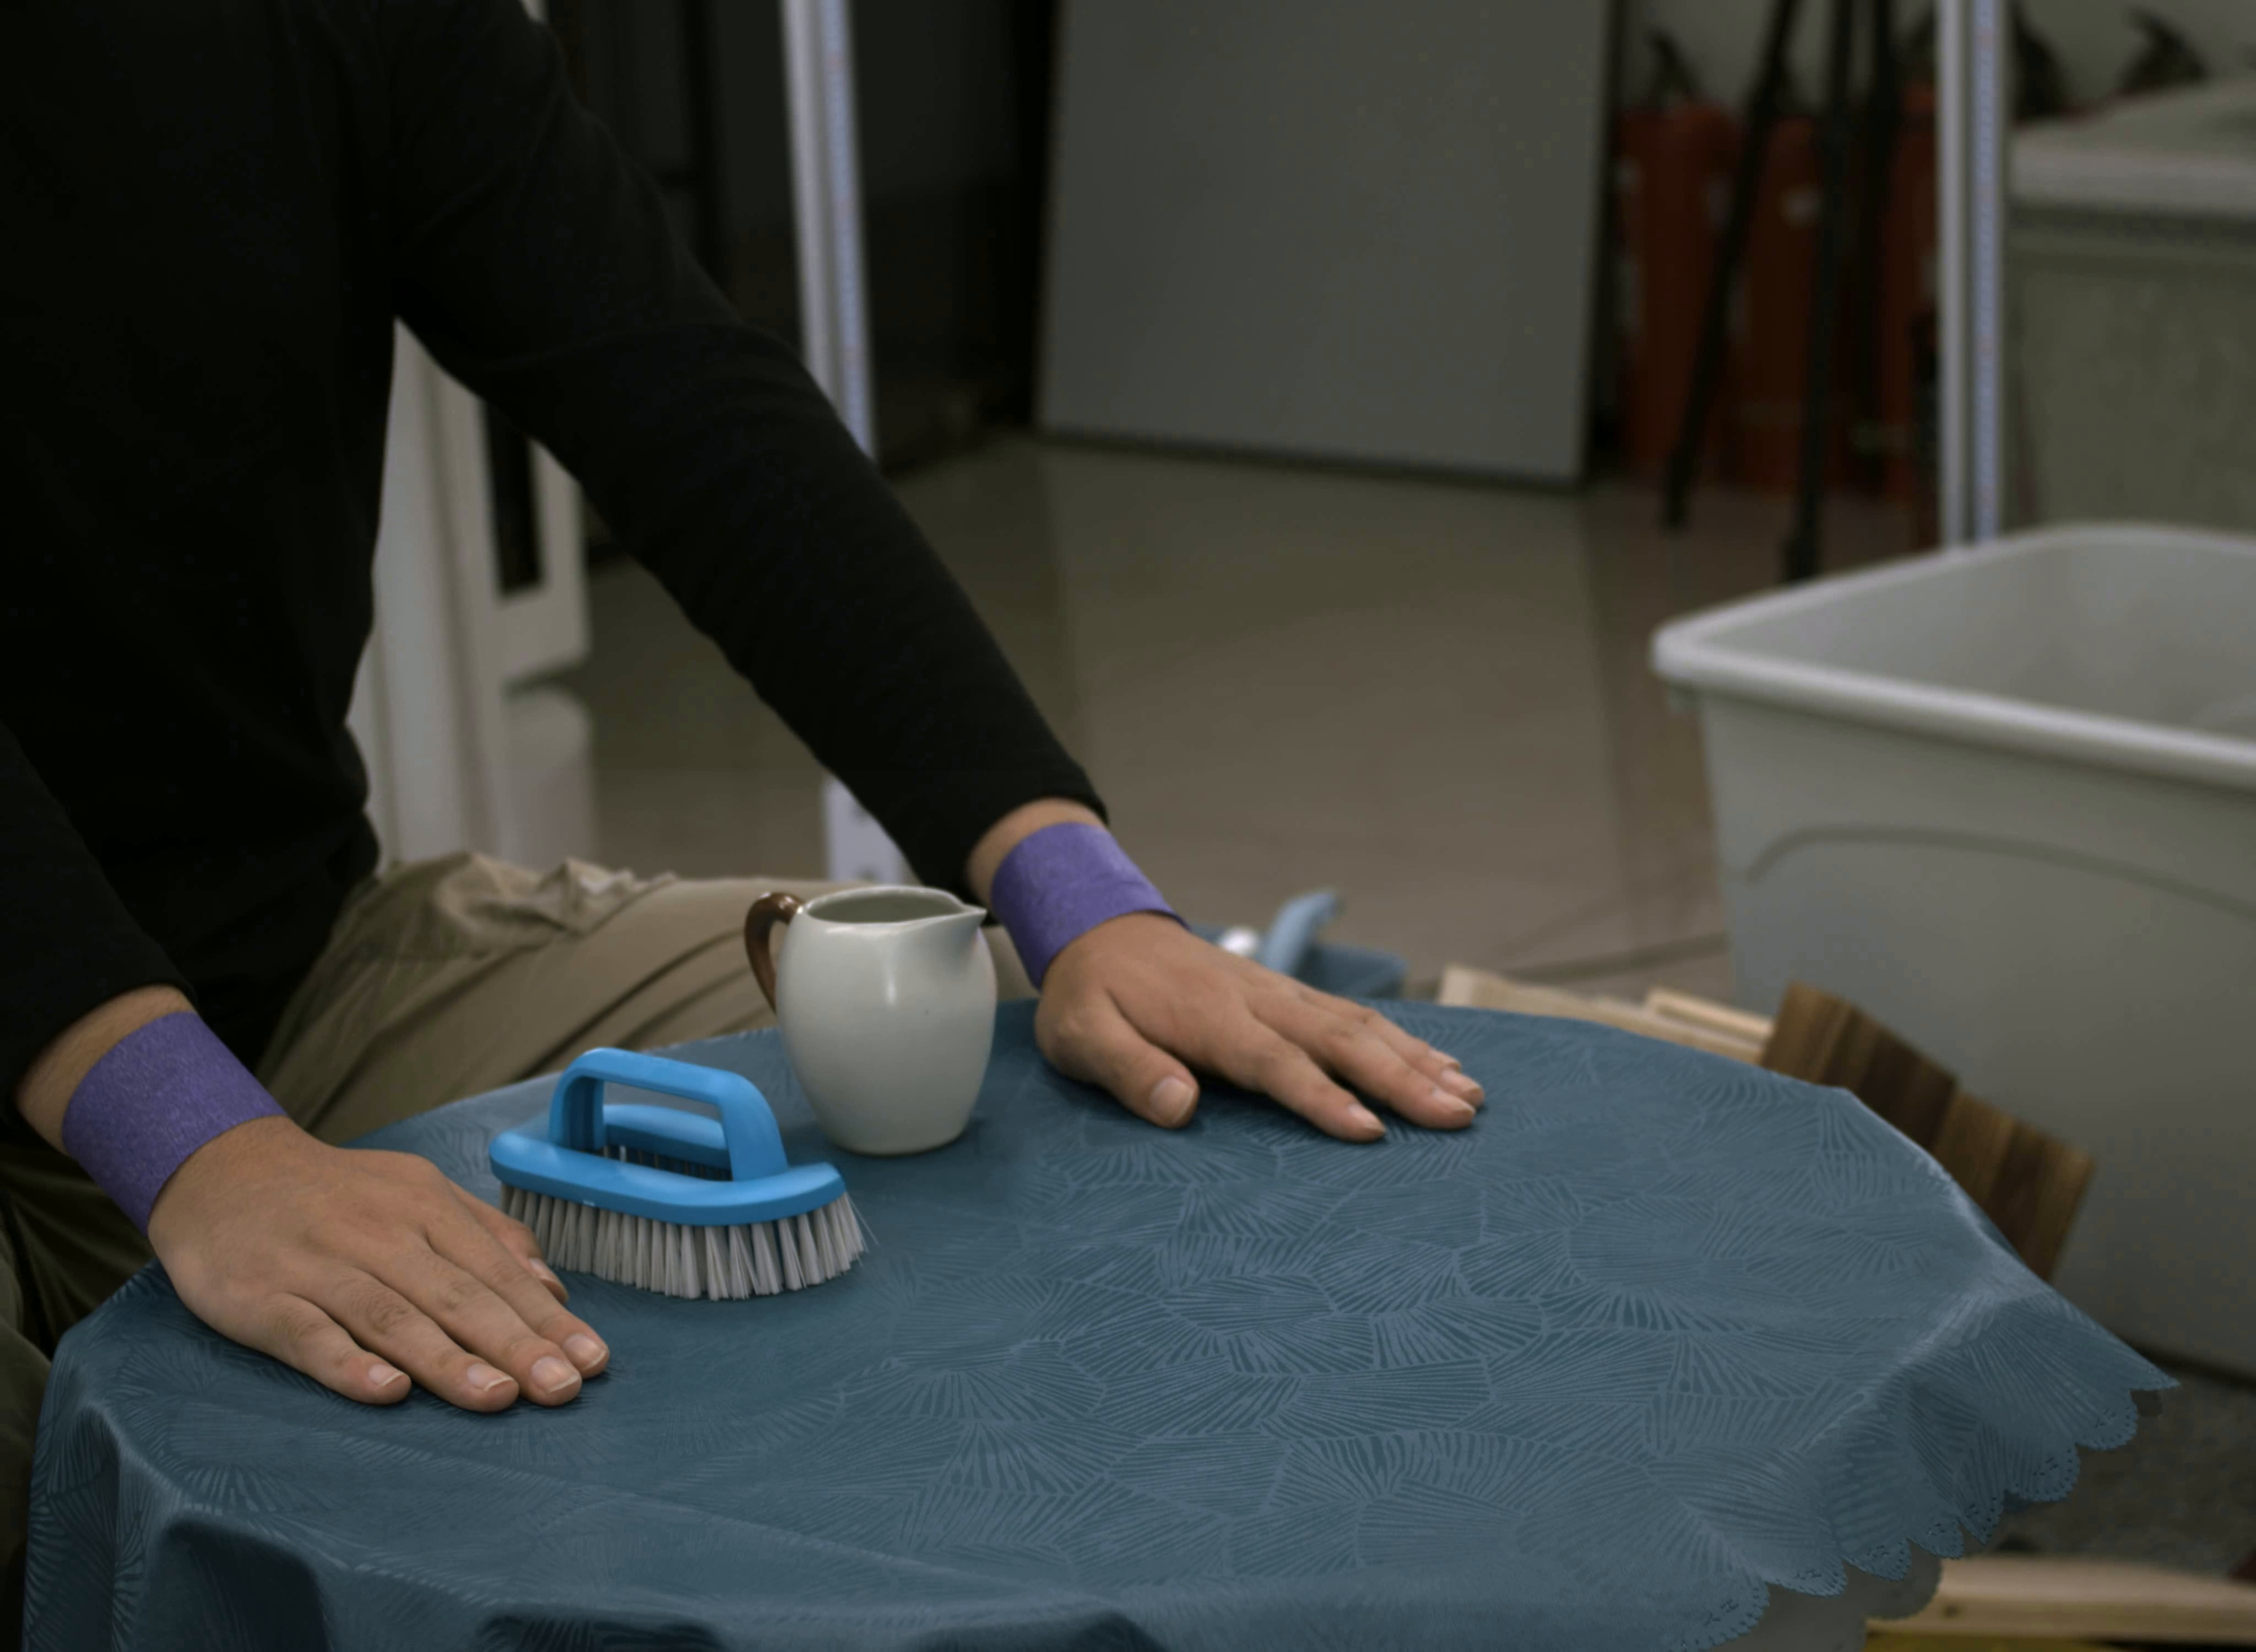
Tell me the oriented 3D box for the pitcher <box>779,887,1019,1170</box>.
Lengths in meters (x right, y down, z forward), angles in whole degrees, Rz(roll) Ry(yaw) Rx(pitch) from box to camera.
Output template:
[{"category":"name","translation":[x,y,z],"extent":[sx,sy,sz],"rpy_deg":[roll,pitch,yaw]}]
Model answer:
[{"category":"pitcher","translation":[-0.080,0.066,1.833],"extent":[0.074,0.089,0.120],"rpy_deg":[-8,16,-41]}]

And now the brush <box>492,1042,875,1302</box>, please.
[{"category":"brush","translation":[-0.147,0.104,1.740],"extent":[0.143,0.064,0.083],"rpy_deg":[7,22,43]}]
